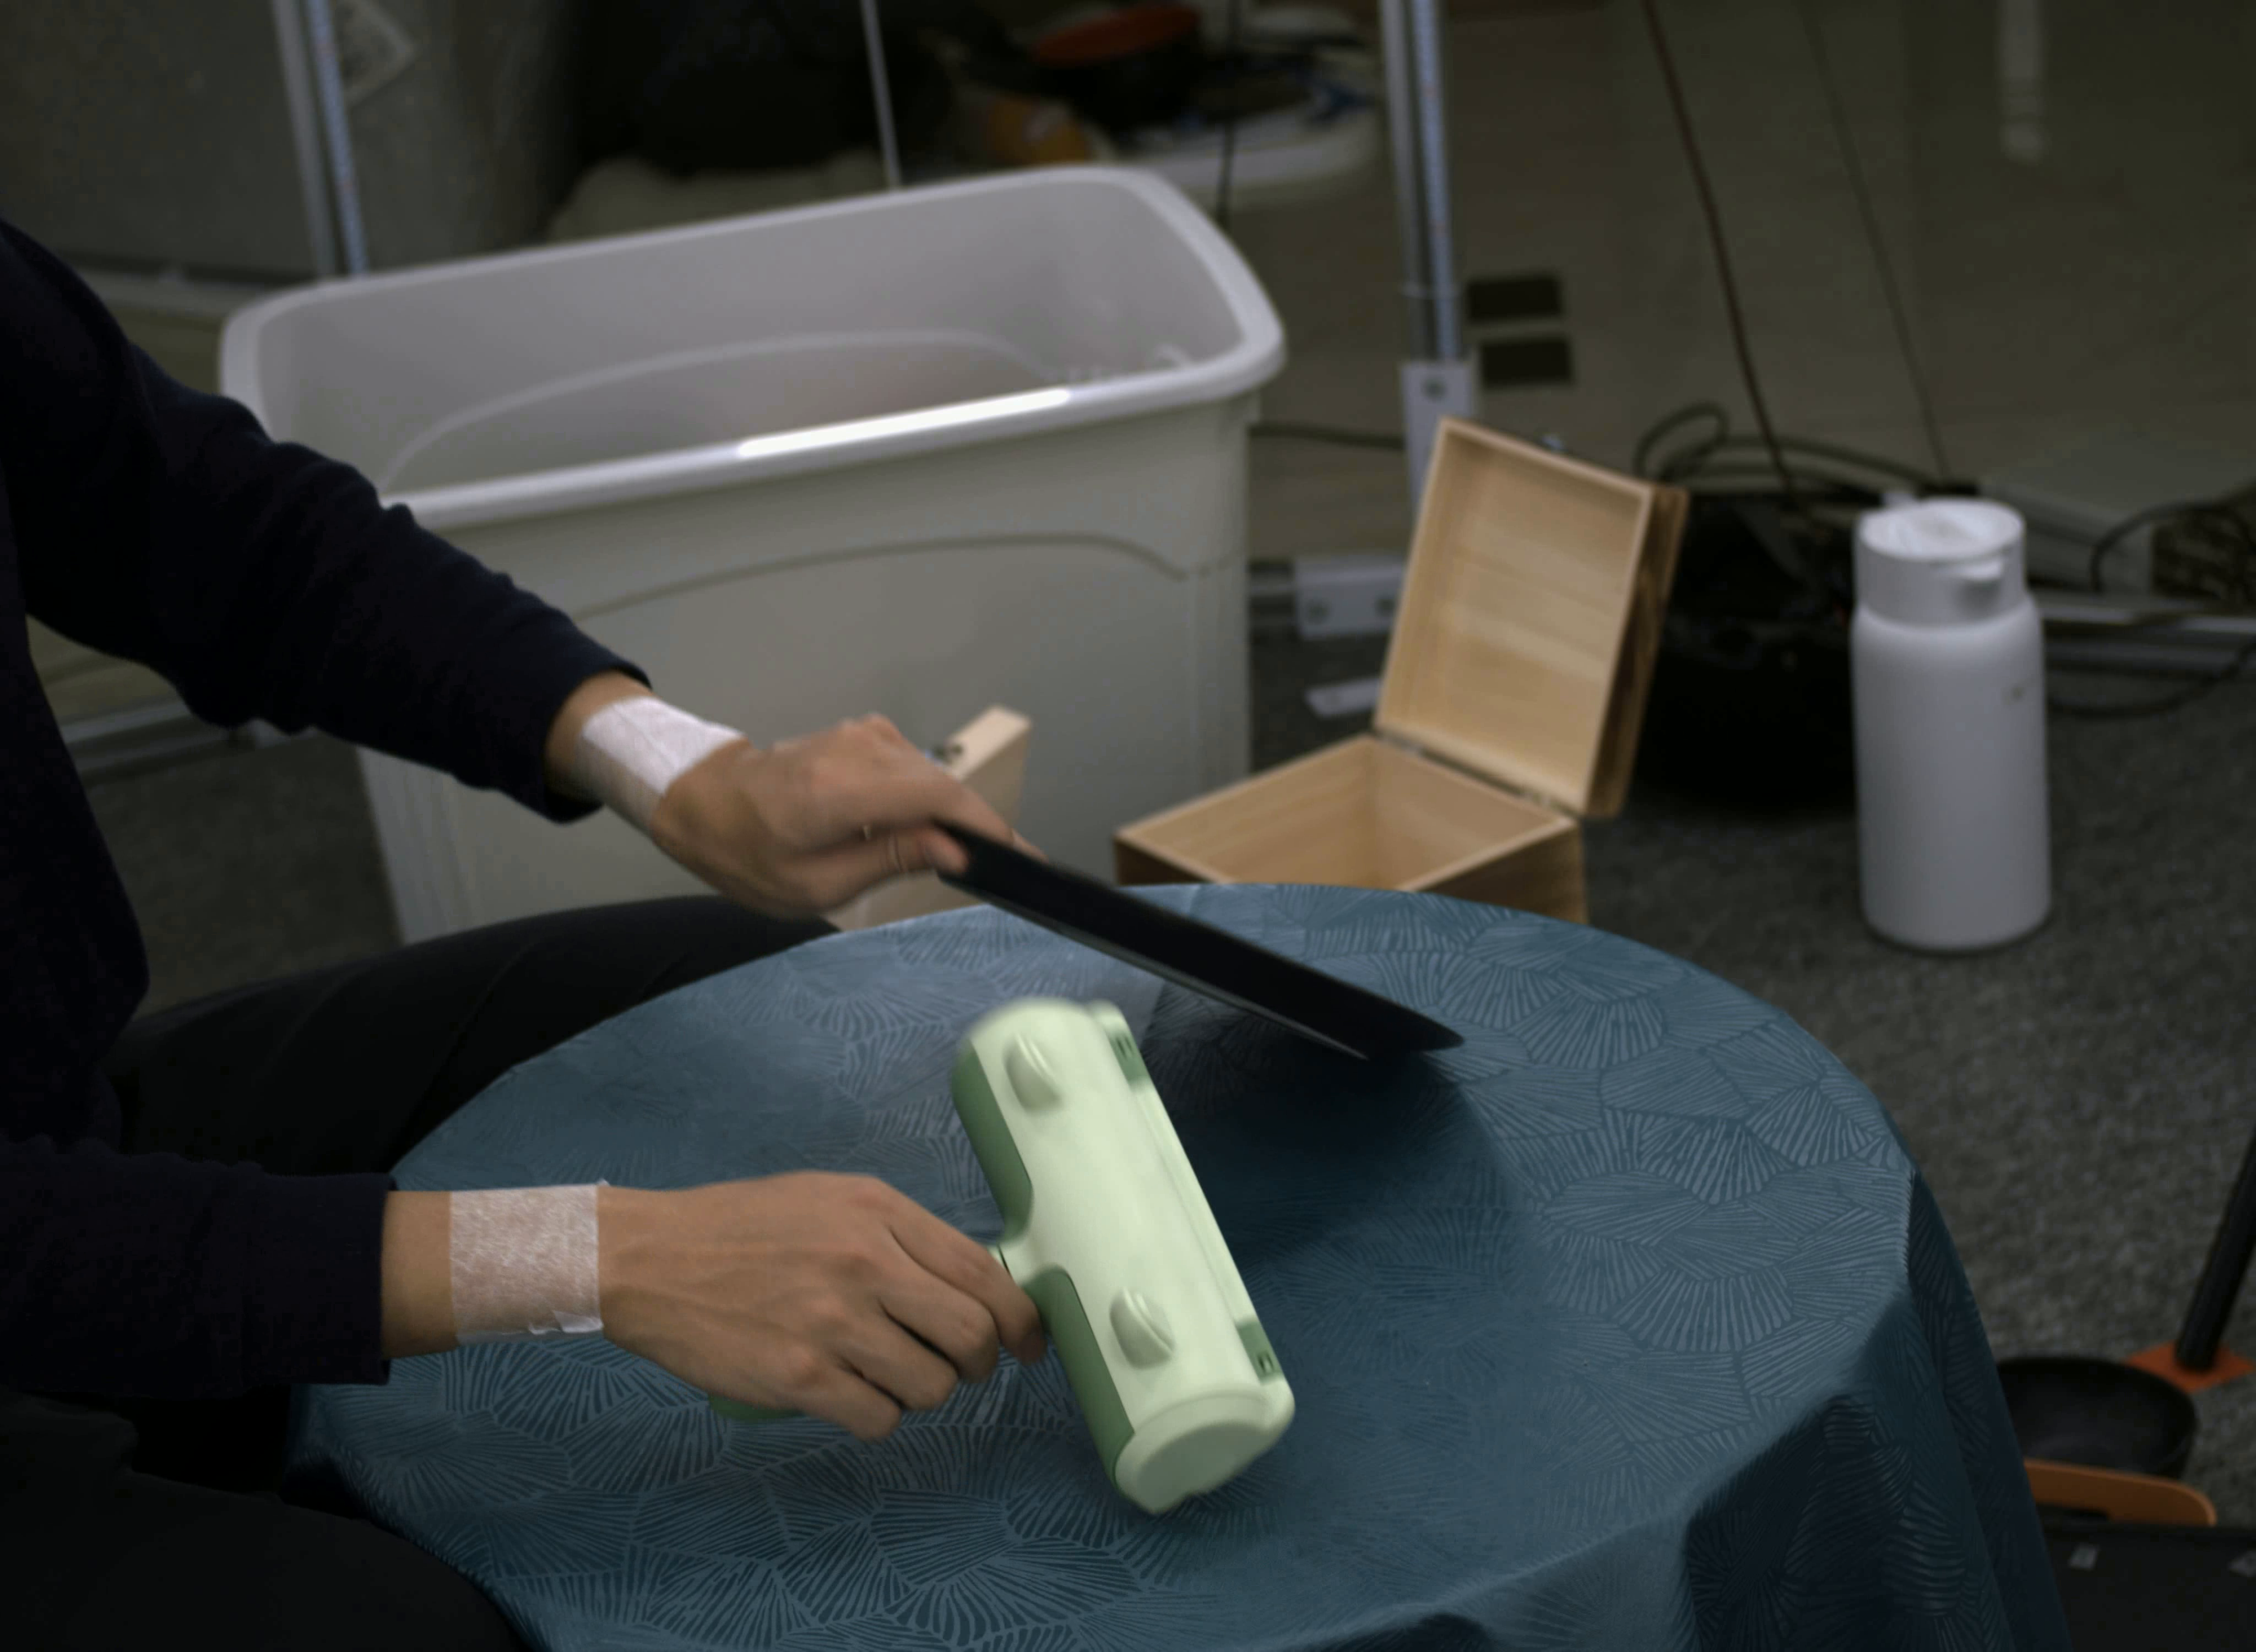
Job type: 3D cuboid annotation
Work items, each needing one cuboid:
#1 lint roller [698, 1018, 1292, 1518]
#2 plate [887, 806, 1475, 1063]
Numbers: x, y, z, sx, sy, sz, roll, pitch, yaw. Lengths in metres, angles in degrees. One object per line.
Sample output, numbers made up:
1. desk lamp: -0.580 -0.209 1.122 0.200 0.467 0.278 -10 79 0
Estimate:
1. lint roller: -0.059 0.156 1.952 0.183 0.084 0.195 -11 48 -16
2. plate: 0.017 0.047 2.176 0.244 0.023 0.244 22 -1 0
